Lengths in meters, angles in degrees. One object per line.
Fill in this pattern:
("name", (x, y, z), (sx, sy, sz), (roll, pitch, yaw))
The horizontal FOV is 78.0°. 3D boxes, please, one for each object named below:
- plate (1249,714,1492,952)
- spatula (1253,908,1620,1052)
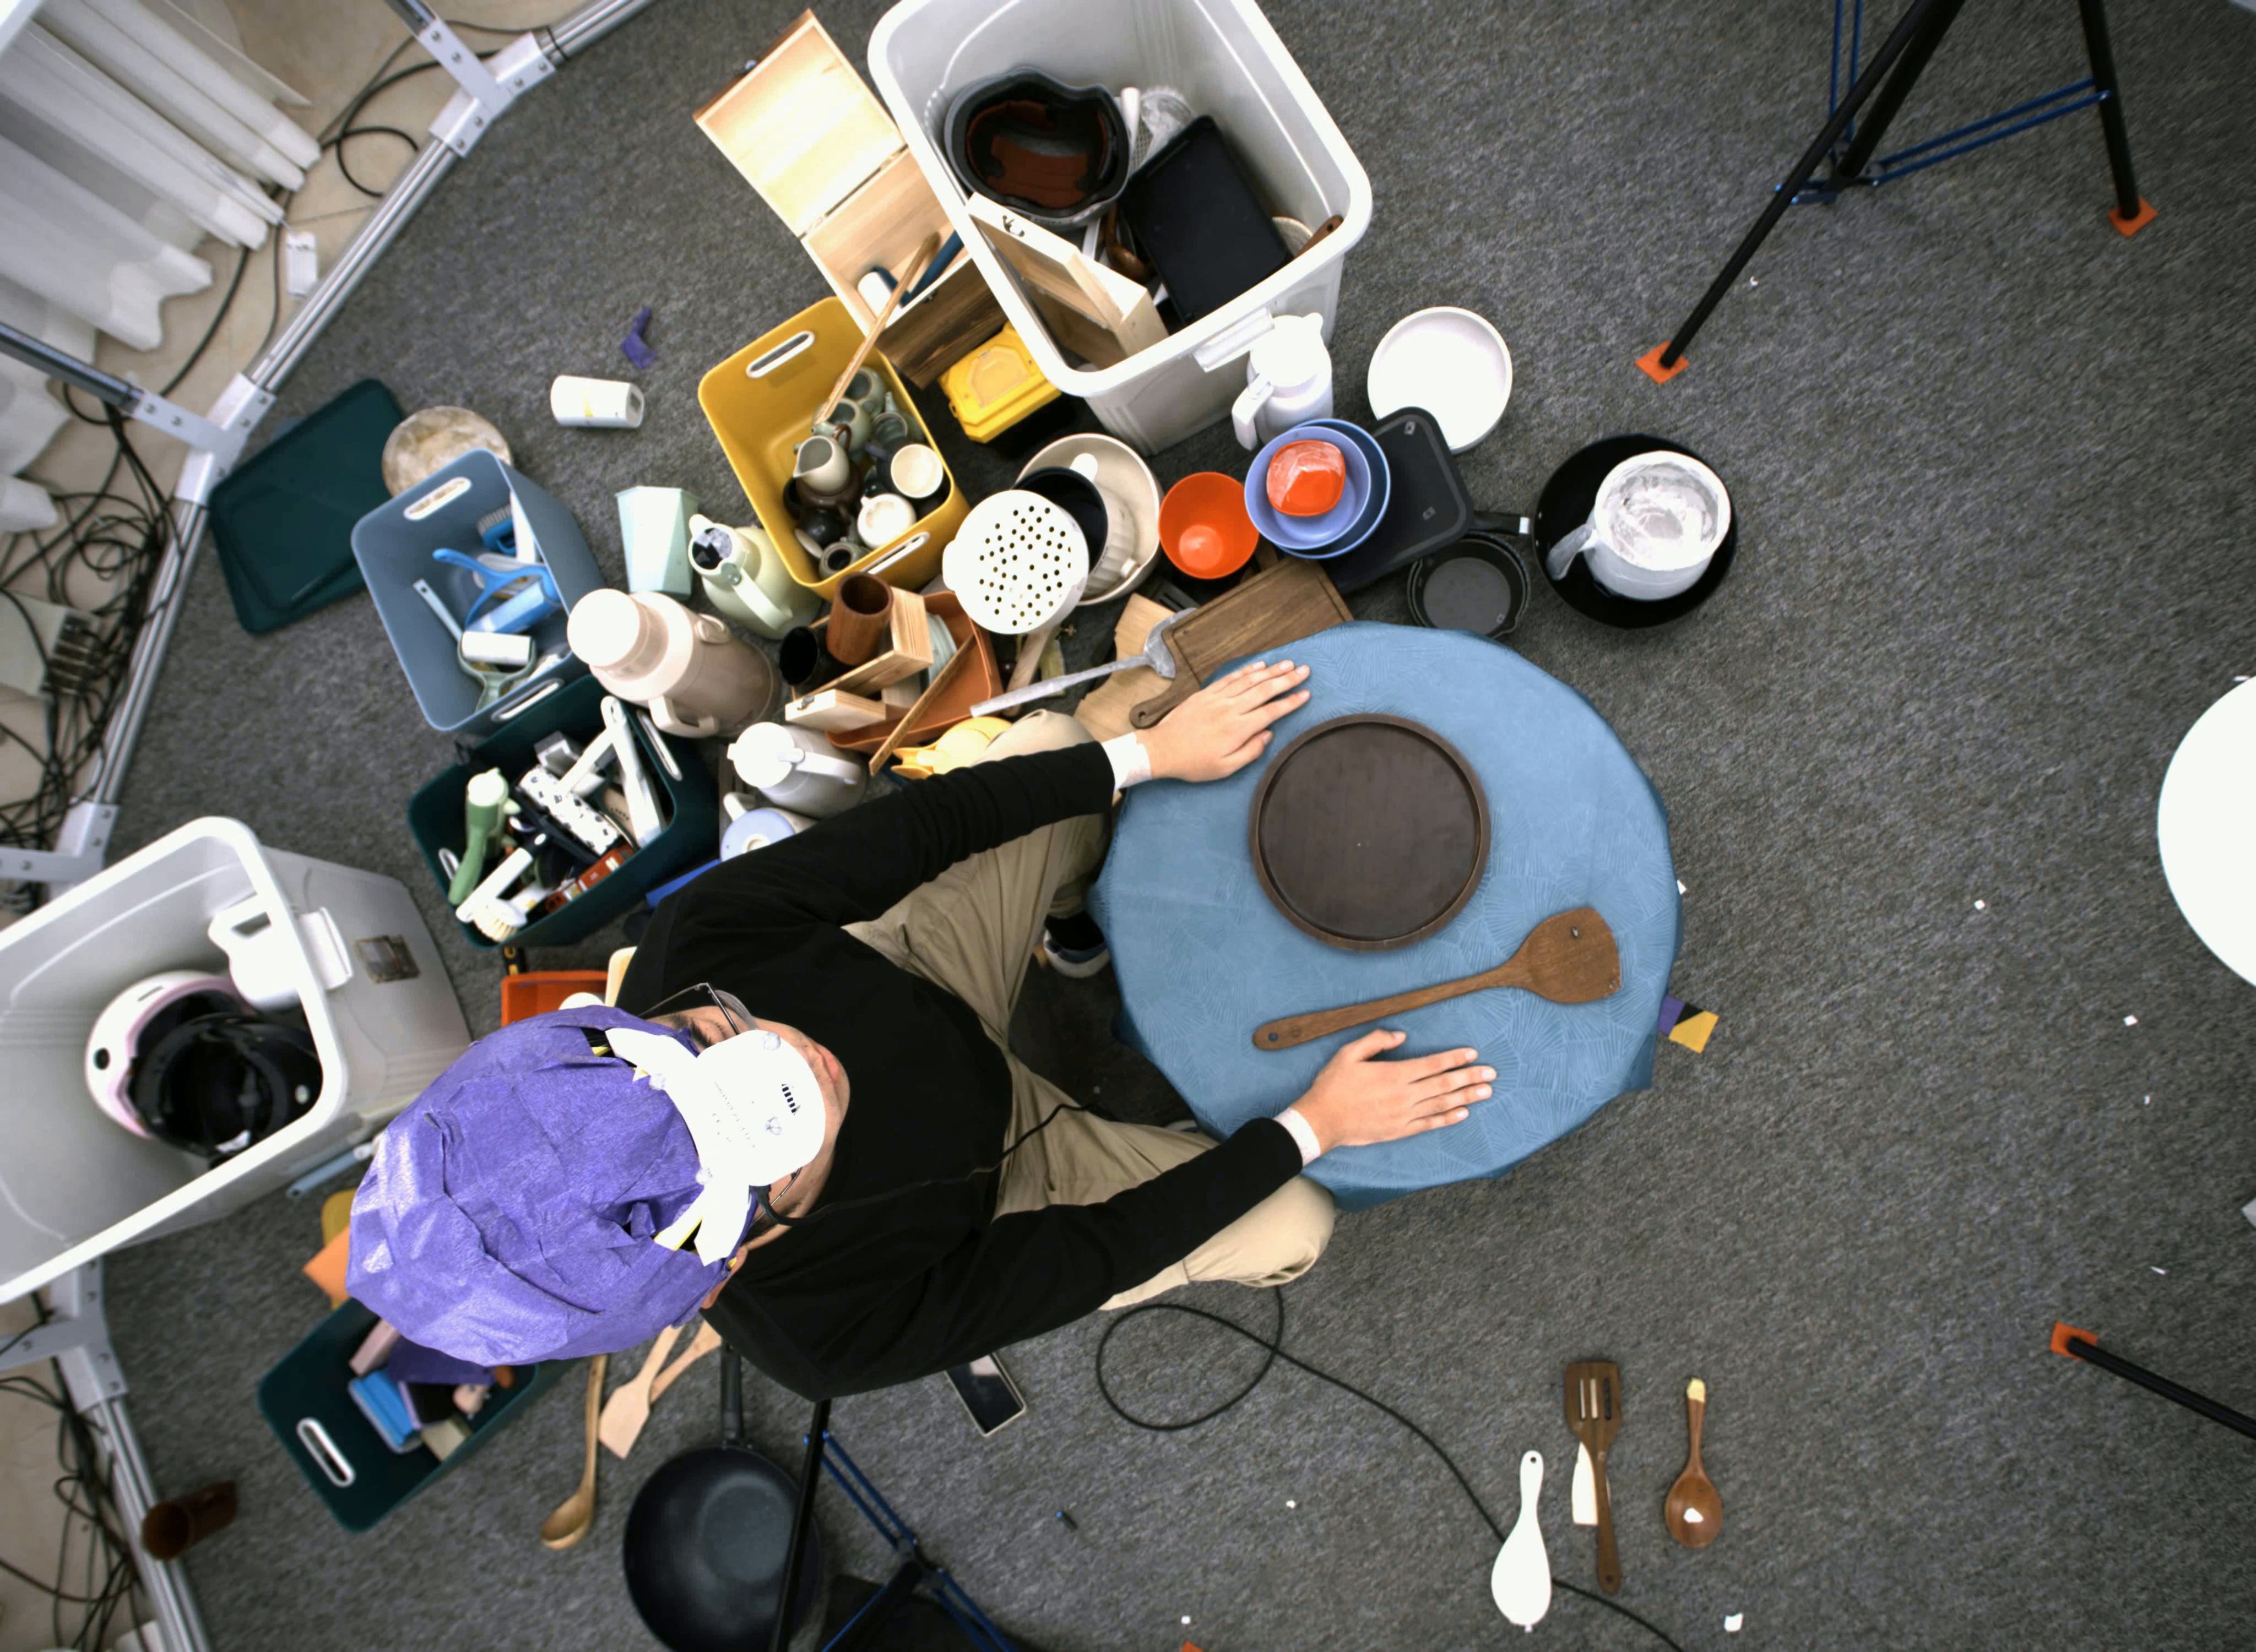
("plate", (0.254, 0.006, 1.455), (0.256, 0.029, 0.254), (-1, 88, 10))
("spatula", (0.316, 0.175, 1.438), (0.388, 0.016, 0.095), (-16, 83, 9))
